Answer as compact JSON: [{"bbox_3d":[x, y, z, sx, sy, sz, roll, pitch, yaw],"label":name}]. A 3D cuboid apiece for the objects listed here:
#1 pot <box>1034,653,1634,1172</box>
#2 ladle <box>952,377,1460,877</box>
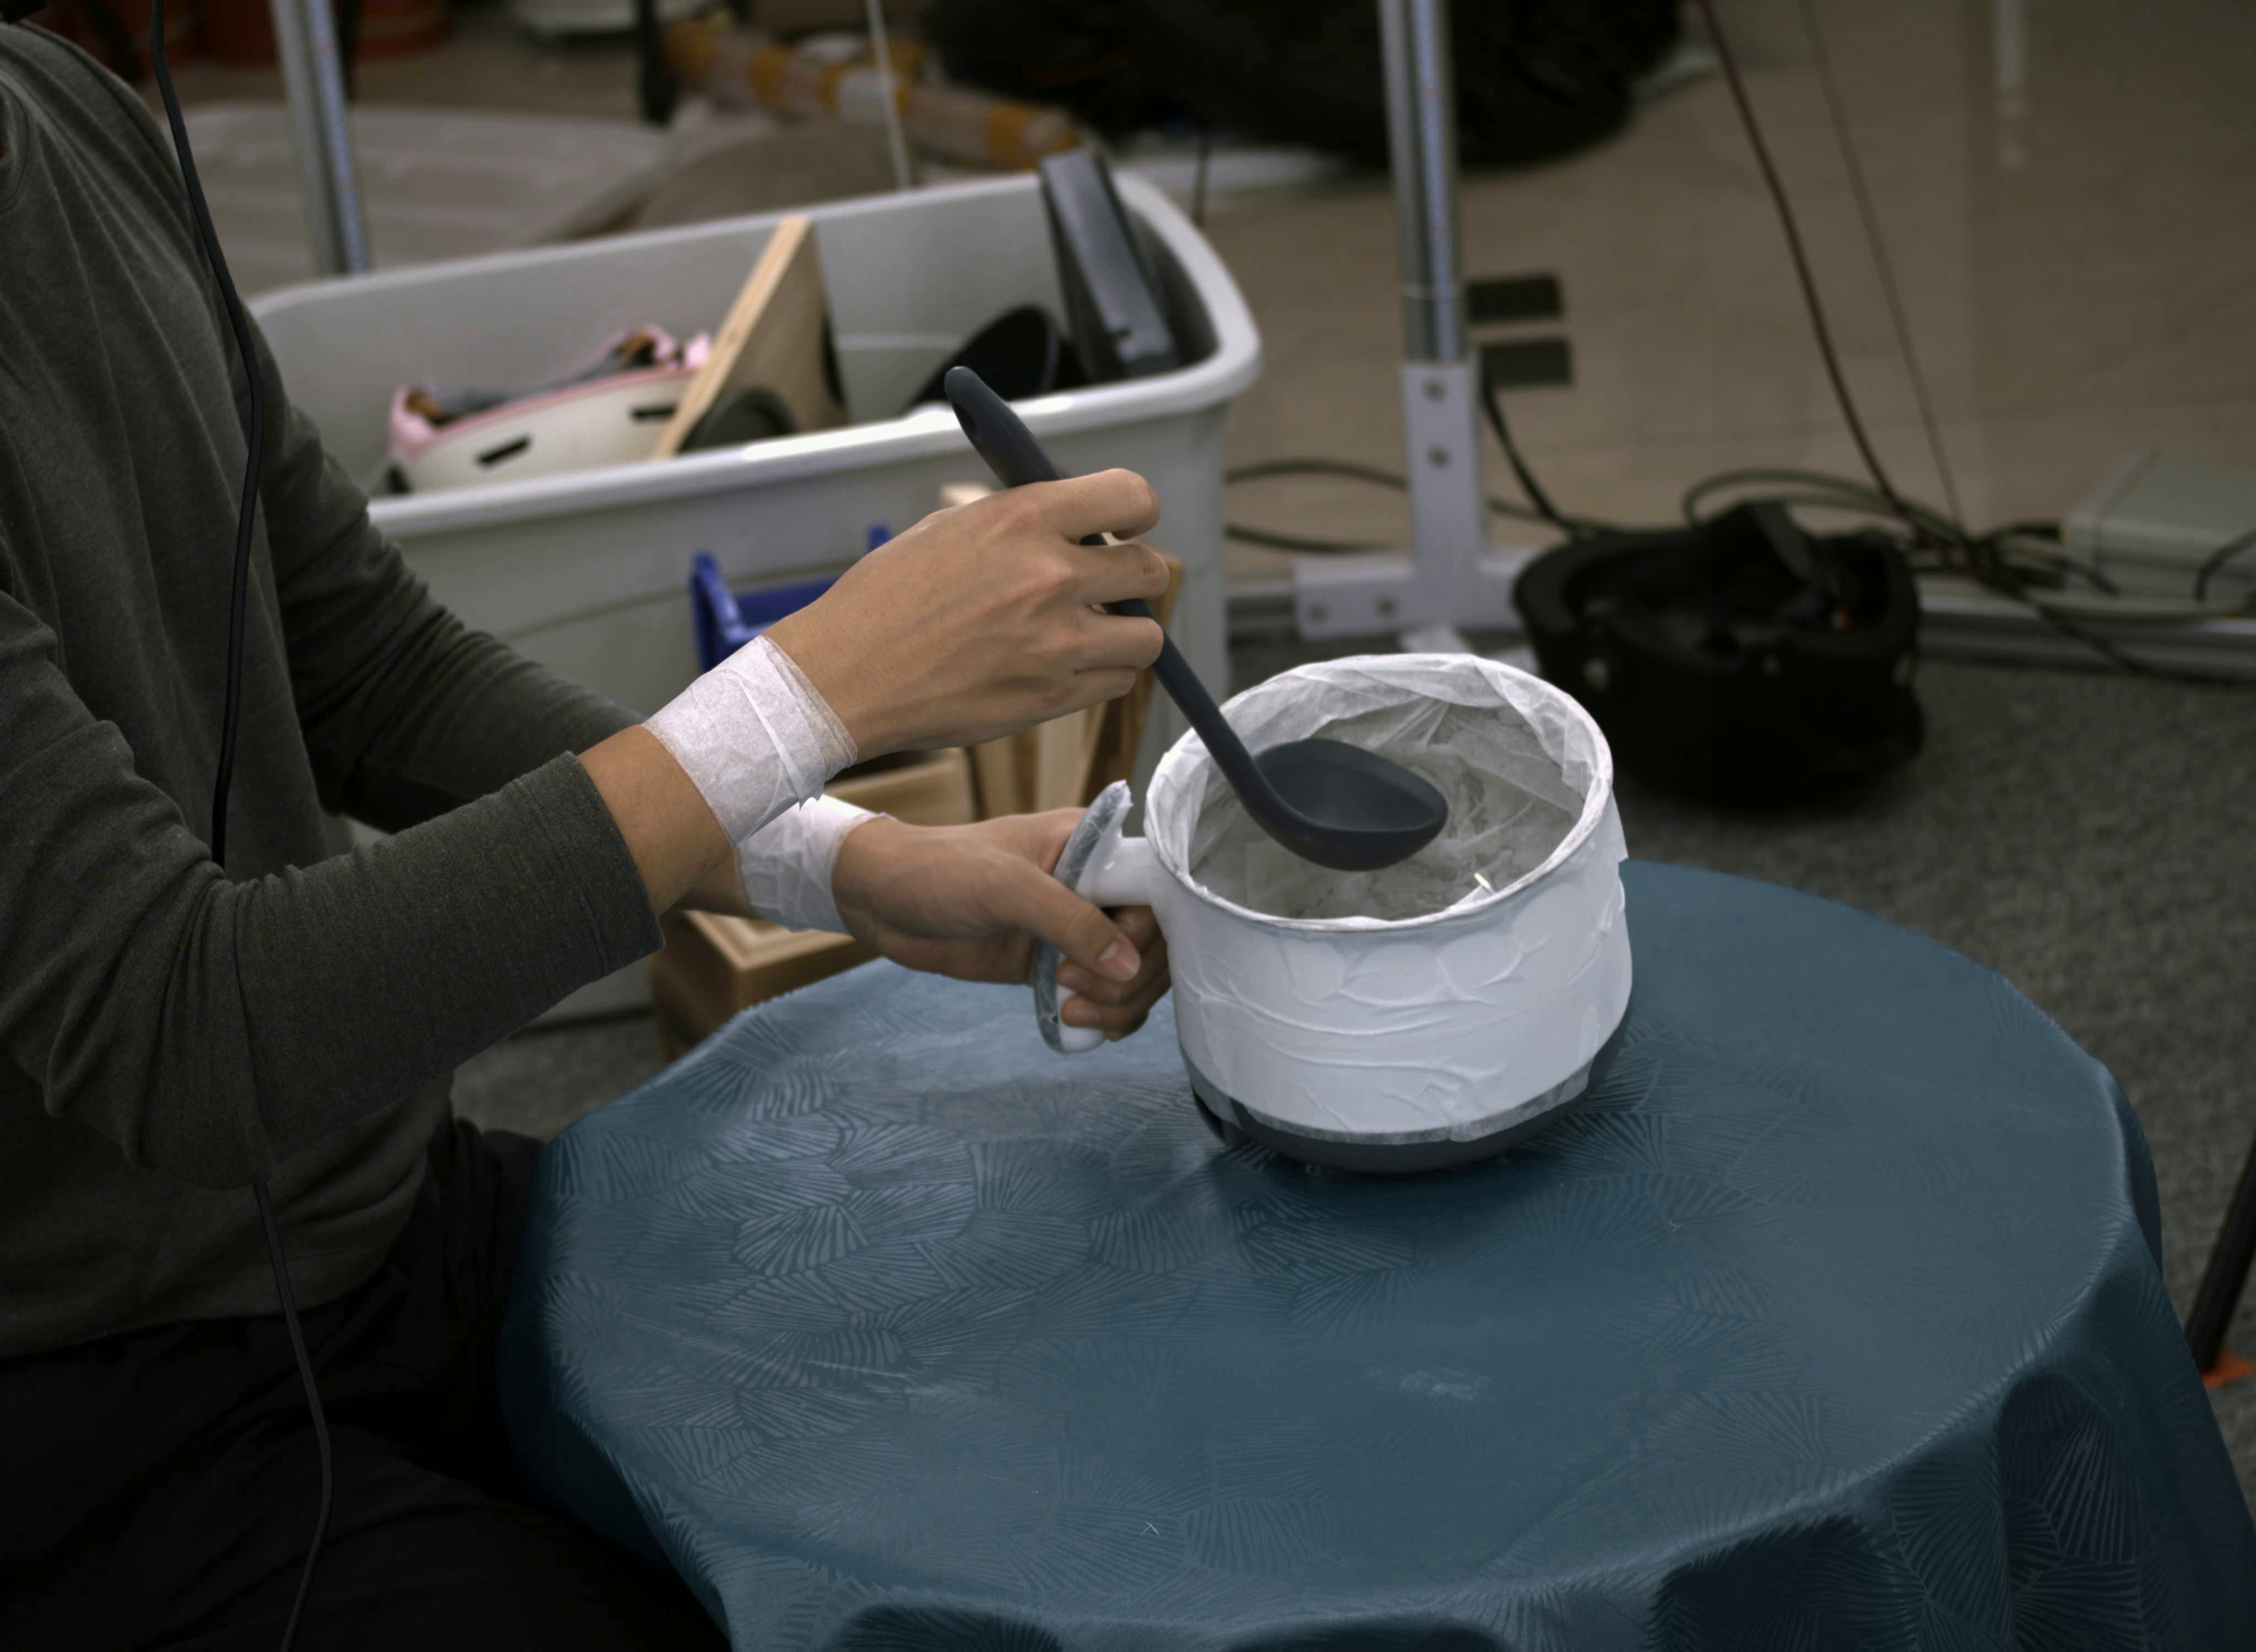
[{"bbox_3d":[0.075,0.037,2.165,0.233,0.139,0.175,-2,36,9],"label":"pot"},{"bbox_3d":[0.025,-0.081,2.067,0.085,0.319,0.063,25,71,42],"label":"ladle"}]
